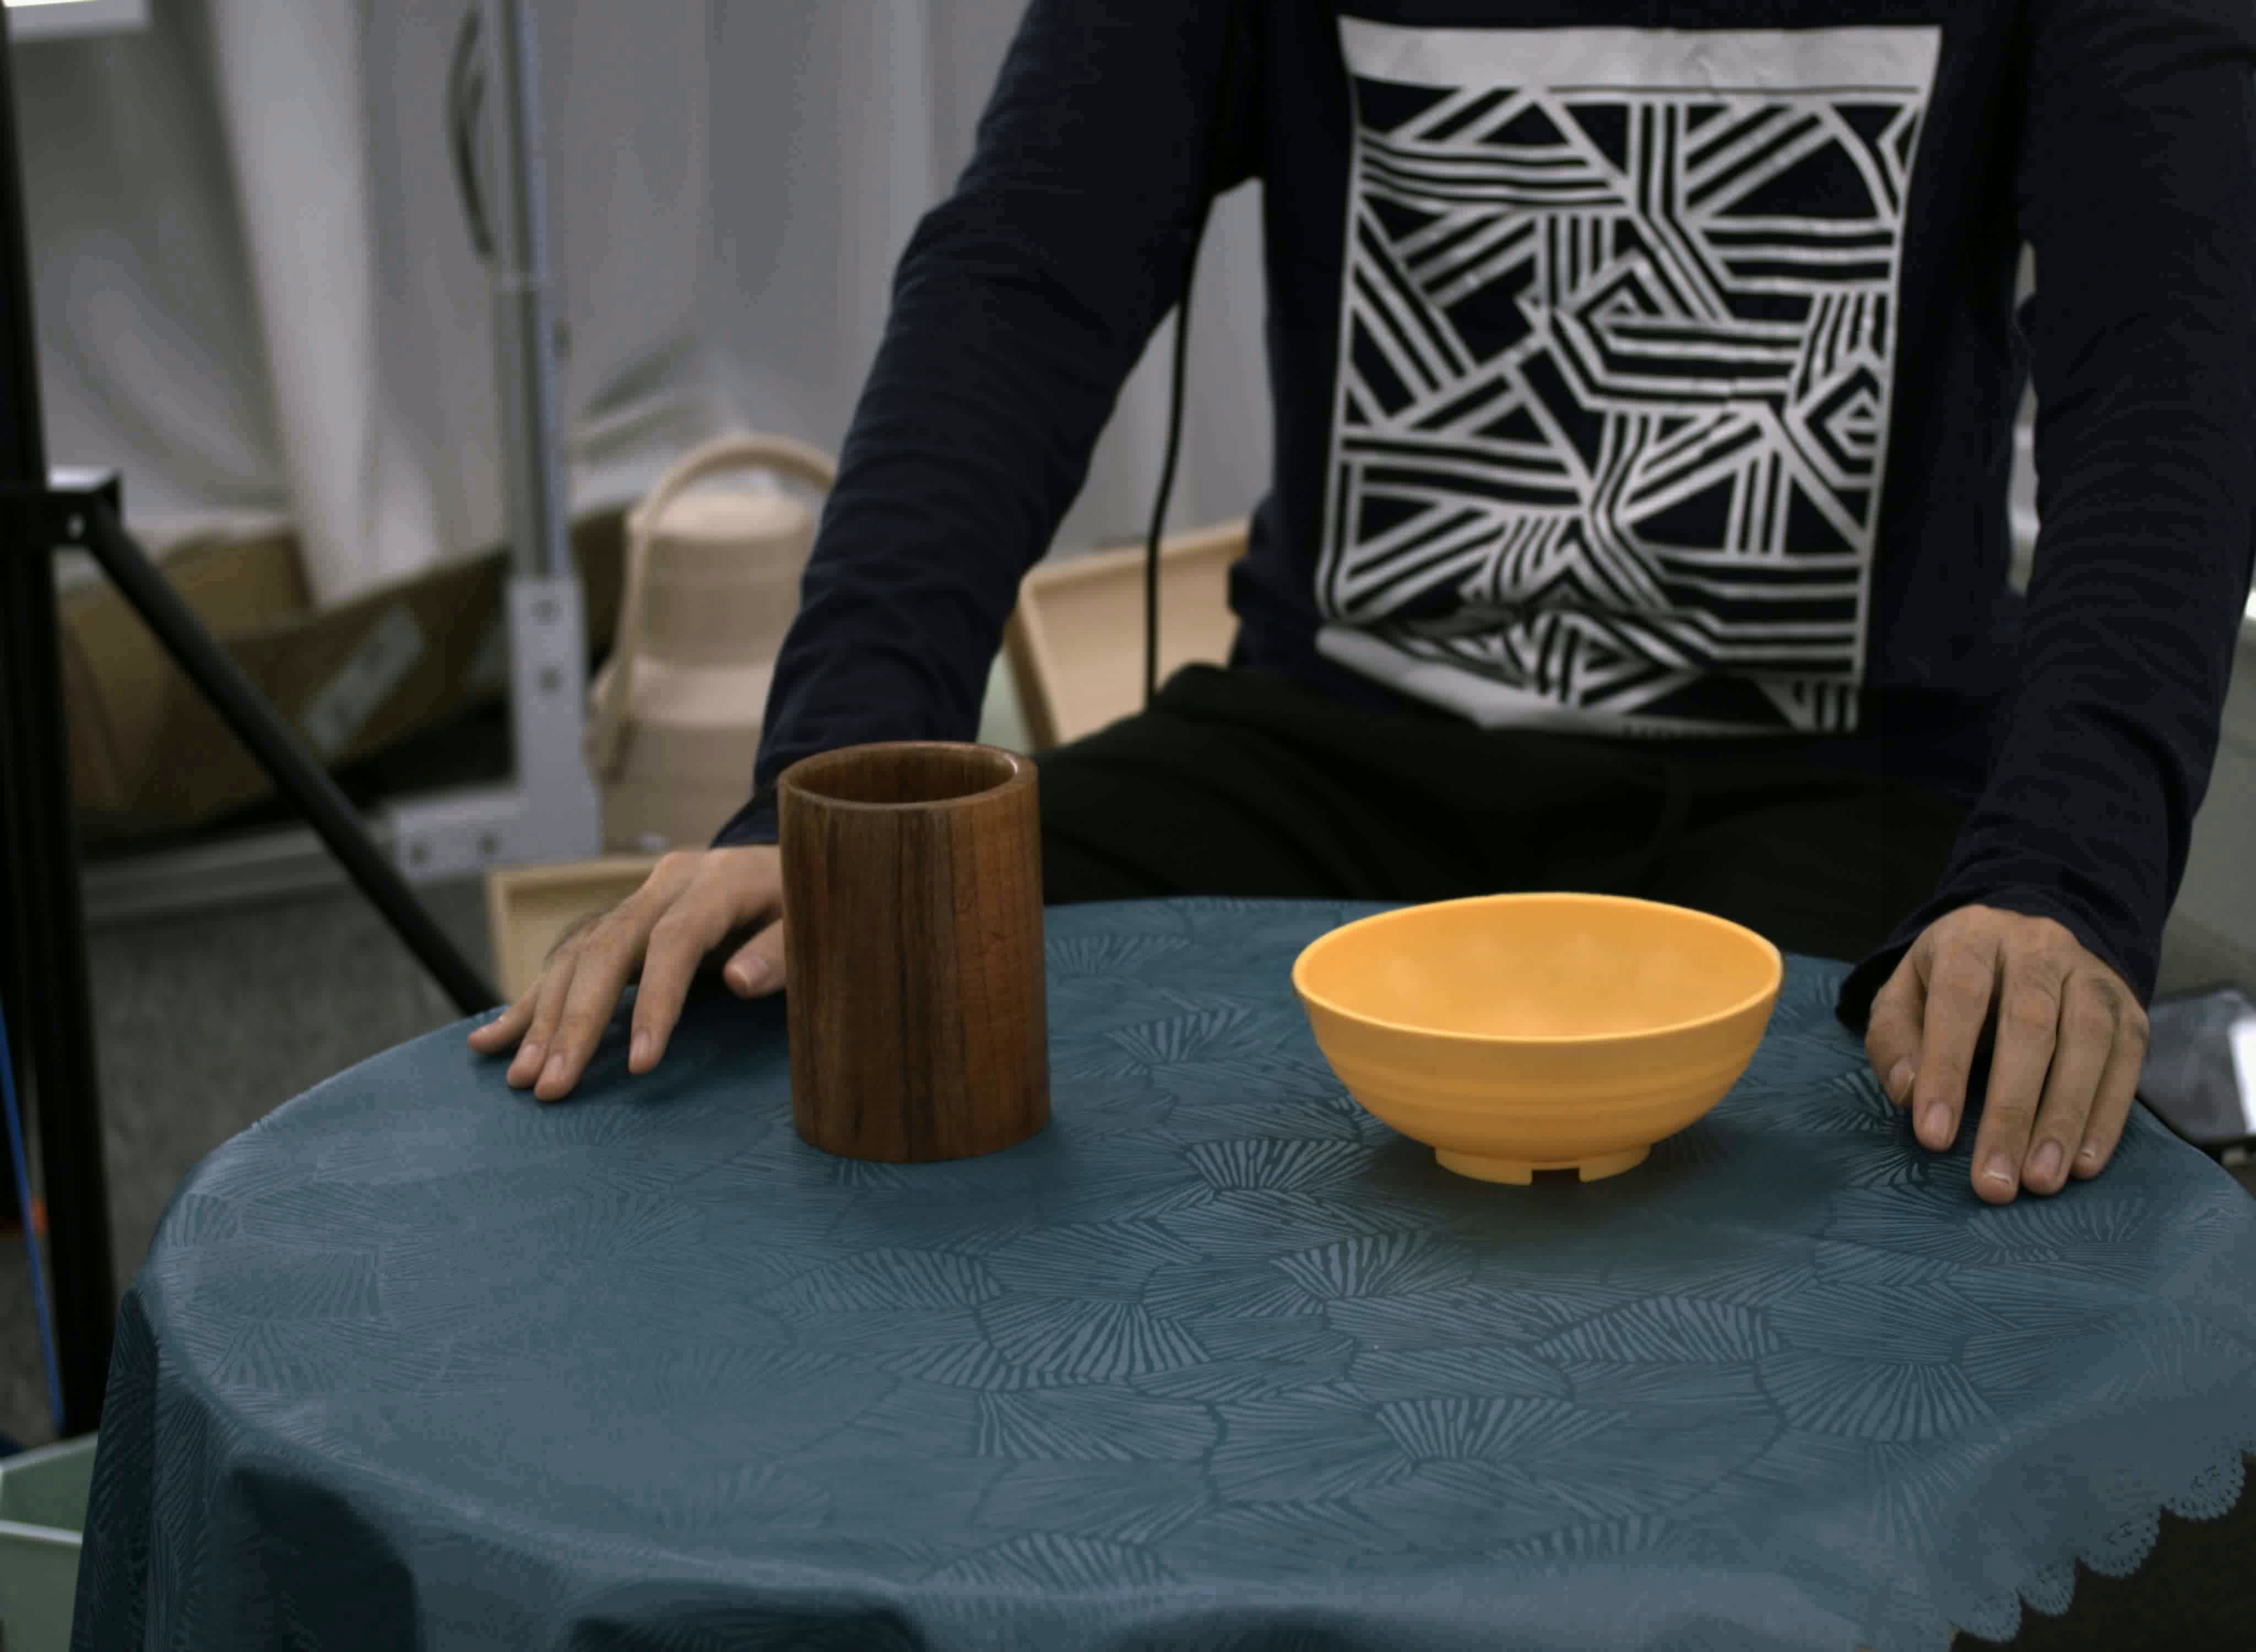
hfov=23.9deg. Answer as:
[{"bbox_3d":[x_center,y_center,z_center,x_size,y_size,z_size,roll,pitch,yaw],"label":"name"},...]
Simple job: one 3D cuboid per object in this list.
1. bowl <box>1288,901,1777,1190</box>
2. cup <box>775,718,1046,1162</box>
[{"bbox_3d":[0.120,0.070,1.574,0.144,0.060,0.146,-2,14,-1],"label":"bowl"},{"bbox_3d":[-0.067,0.033,1.619,0.087,0.118,0.088,0,16,-1],"label":"cup"}]
